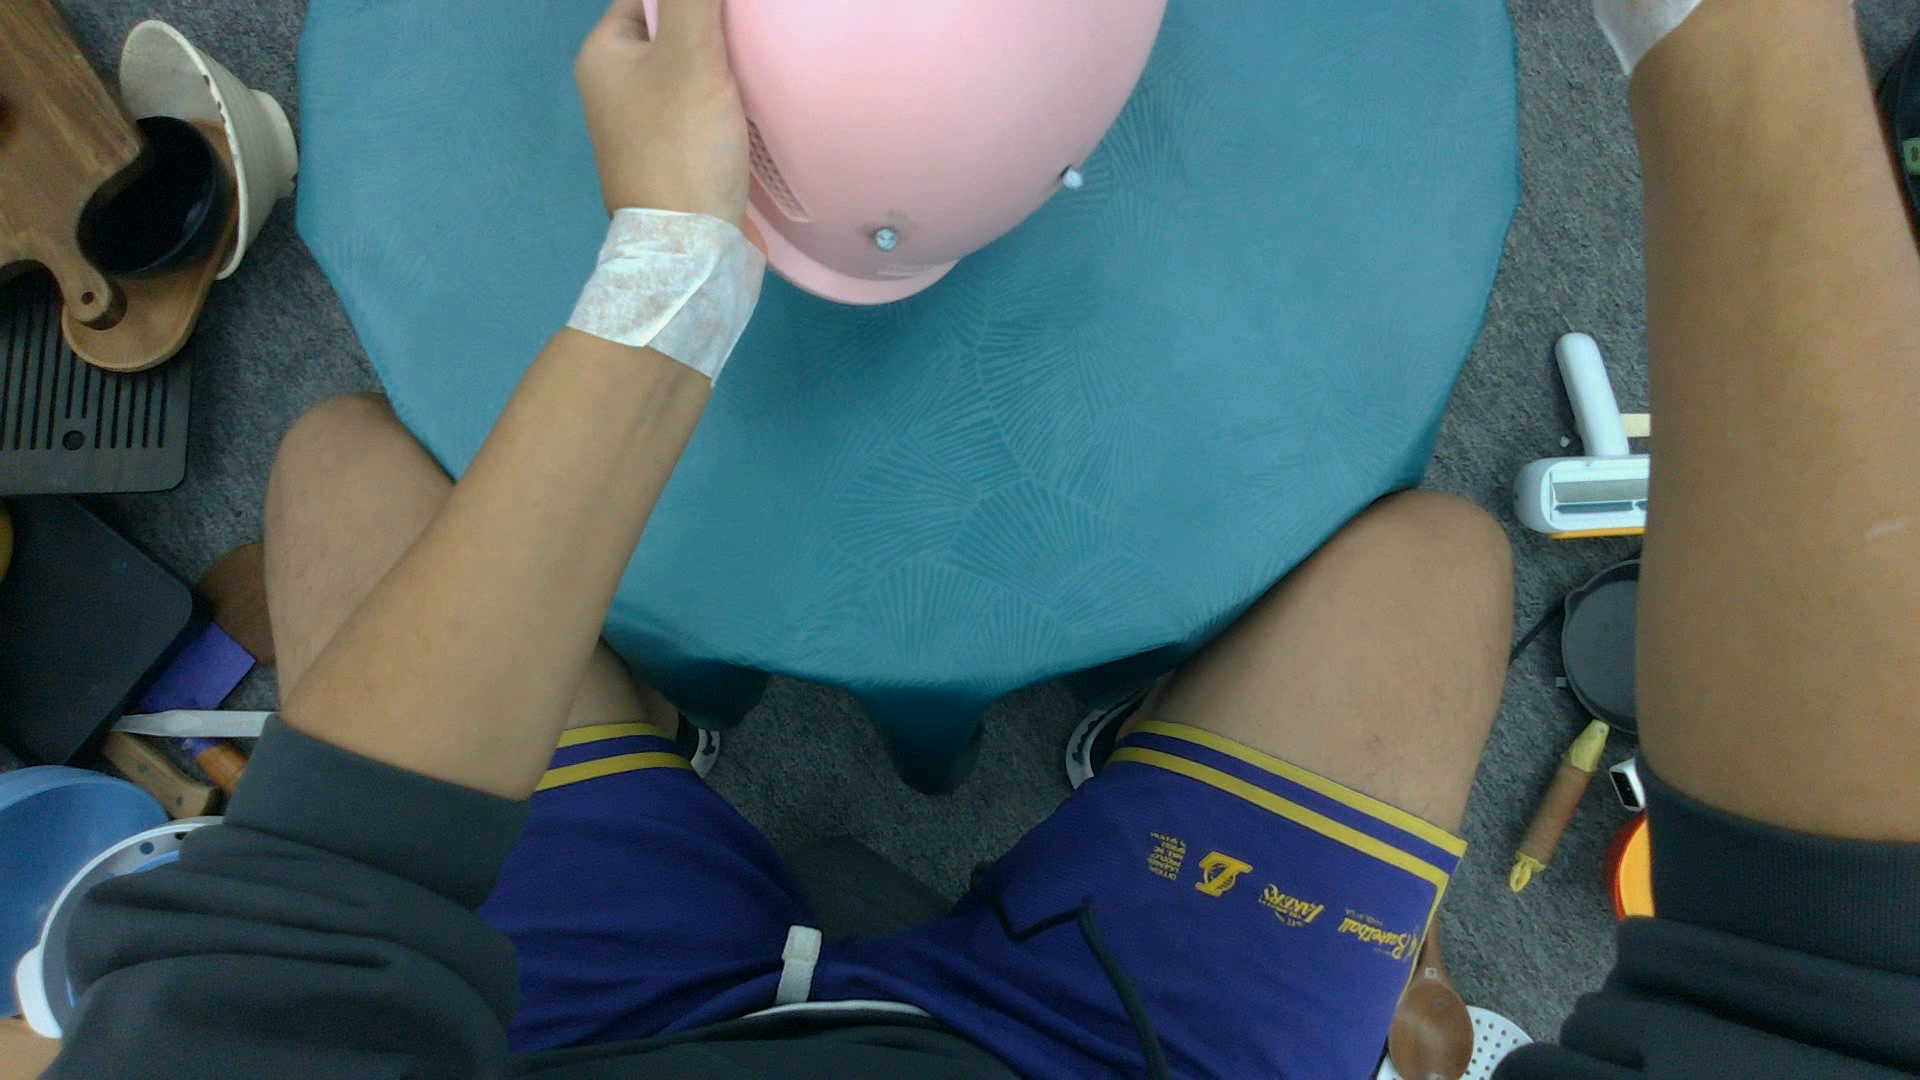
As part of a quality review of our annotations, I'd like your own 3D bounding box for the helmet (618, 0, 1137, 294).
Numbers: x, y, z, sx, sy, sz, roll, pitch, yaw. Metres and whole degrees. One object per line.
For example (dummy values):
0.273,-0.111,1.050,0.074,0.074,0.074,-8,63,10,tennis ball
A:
-0.015,-0.238,0.534,0.158,0.234,0.266,-6,73,35,helmet
